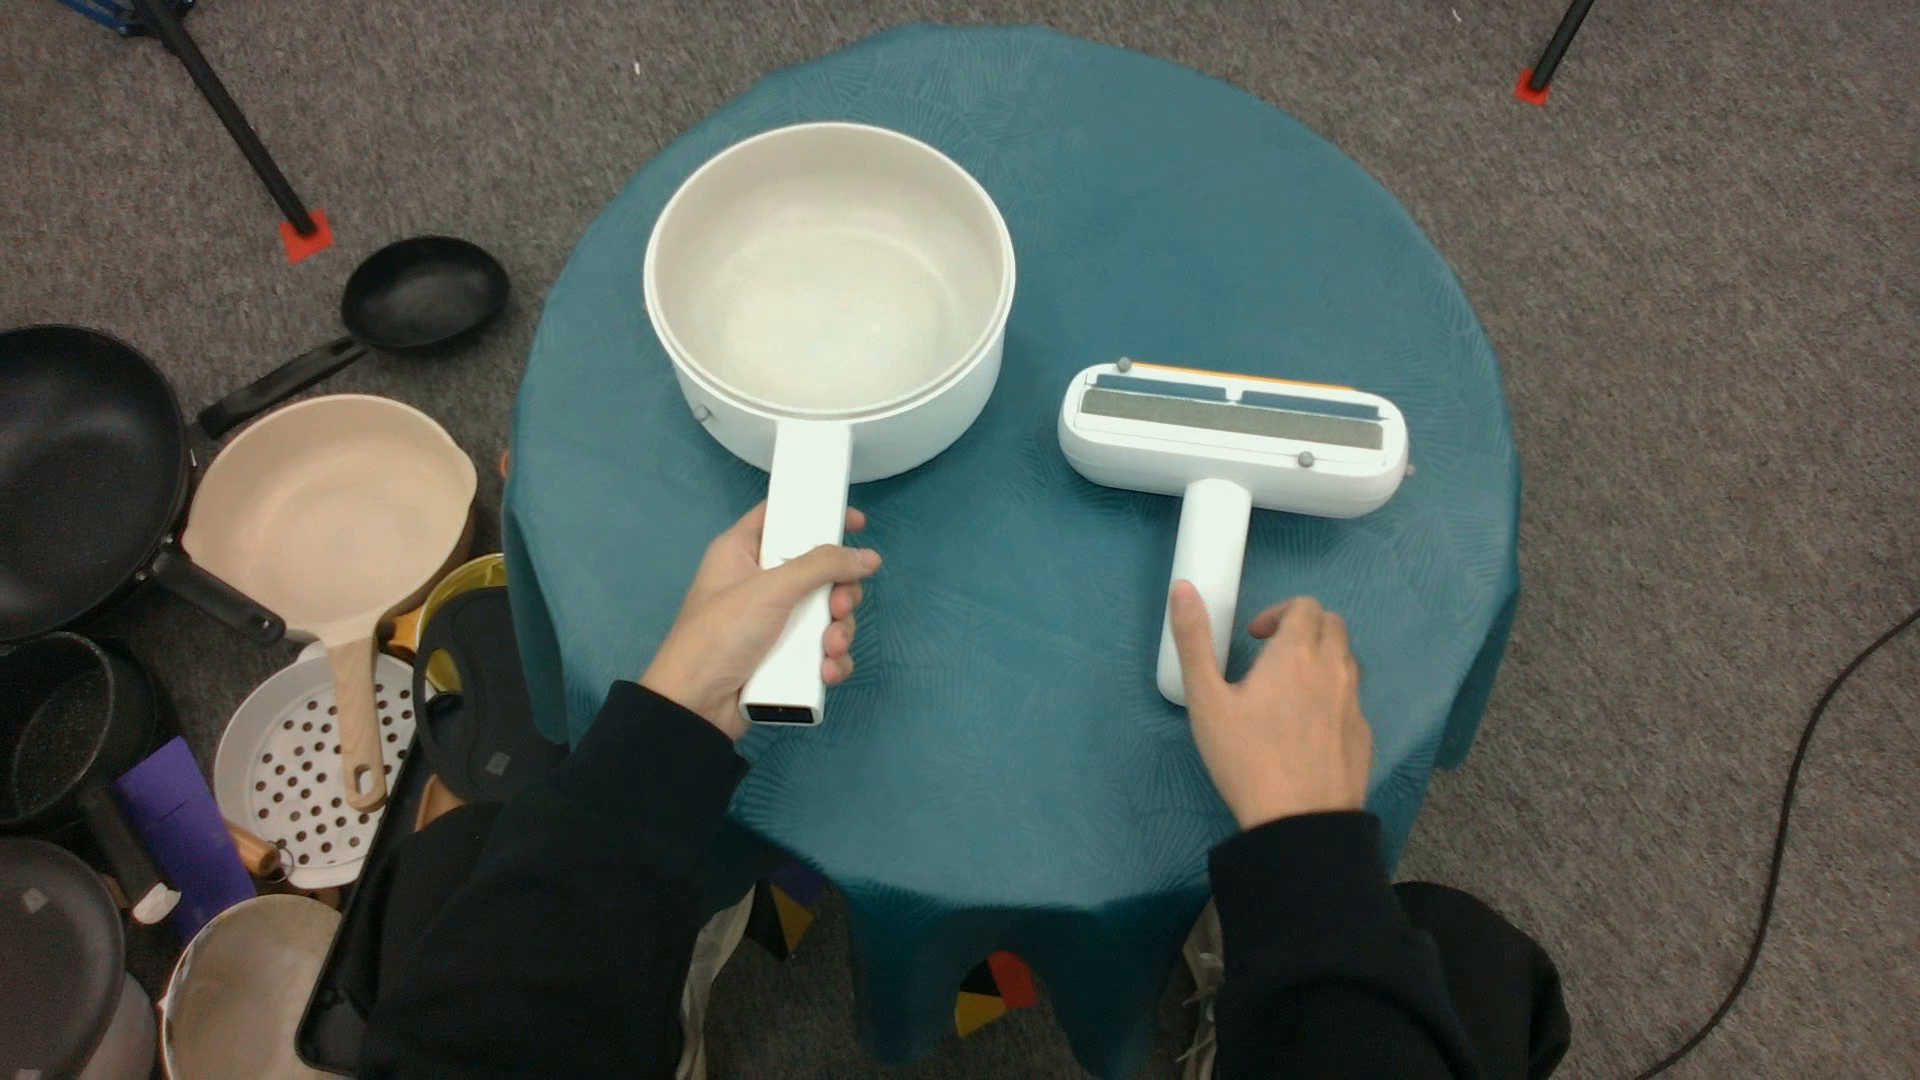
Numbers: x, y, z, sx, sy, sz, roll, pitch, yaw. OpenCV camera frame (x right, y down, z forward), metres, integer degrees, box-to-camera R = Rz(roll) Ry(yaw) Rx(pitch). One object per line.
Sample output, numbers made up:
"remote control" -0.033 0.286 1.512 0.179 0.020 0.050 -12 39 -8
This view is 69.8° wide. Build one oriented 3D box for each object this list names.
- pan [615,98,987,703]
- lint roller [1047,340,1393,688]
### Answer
"pan" -0.089 -0.074 0.750 0.201 0.101 0.356 2 64 1
"lint roller" 0.129 -0.013 0.763 0.193 0.074 0.193 14 66 8
